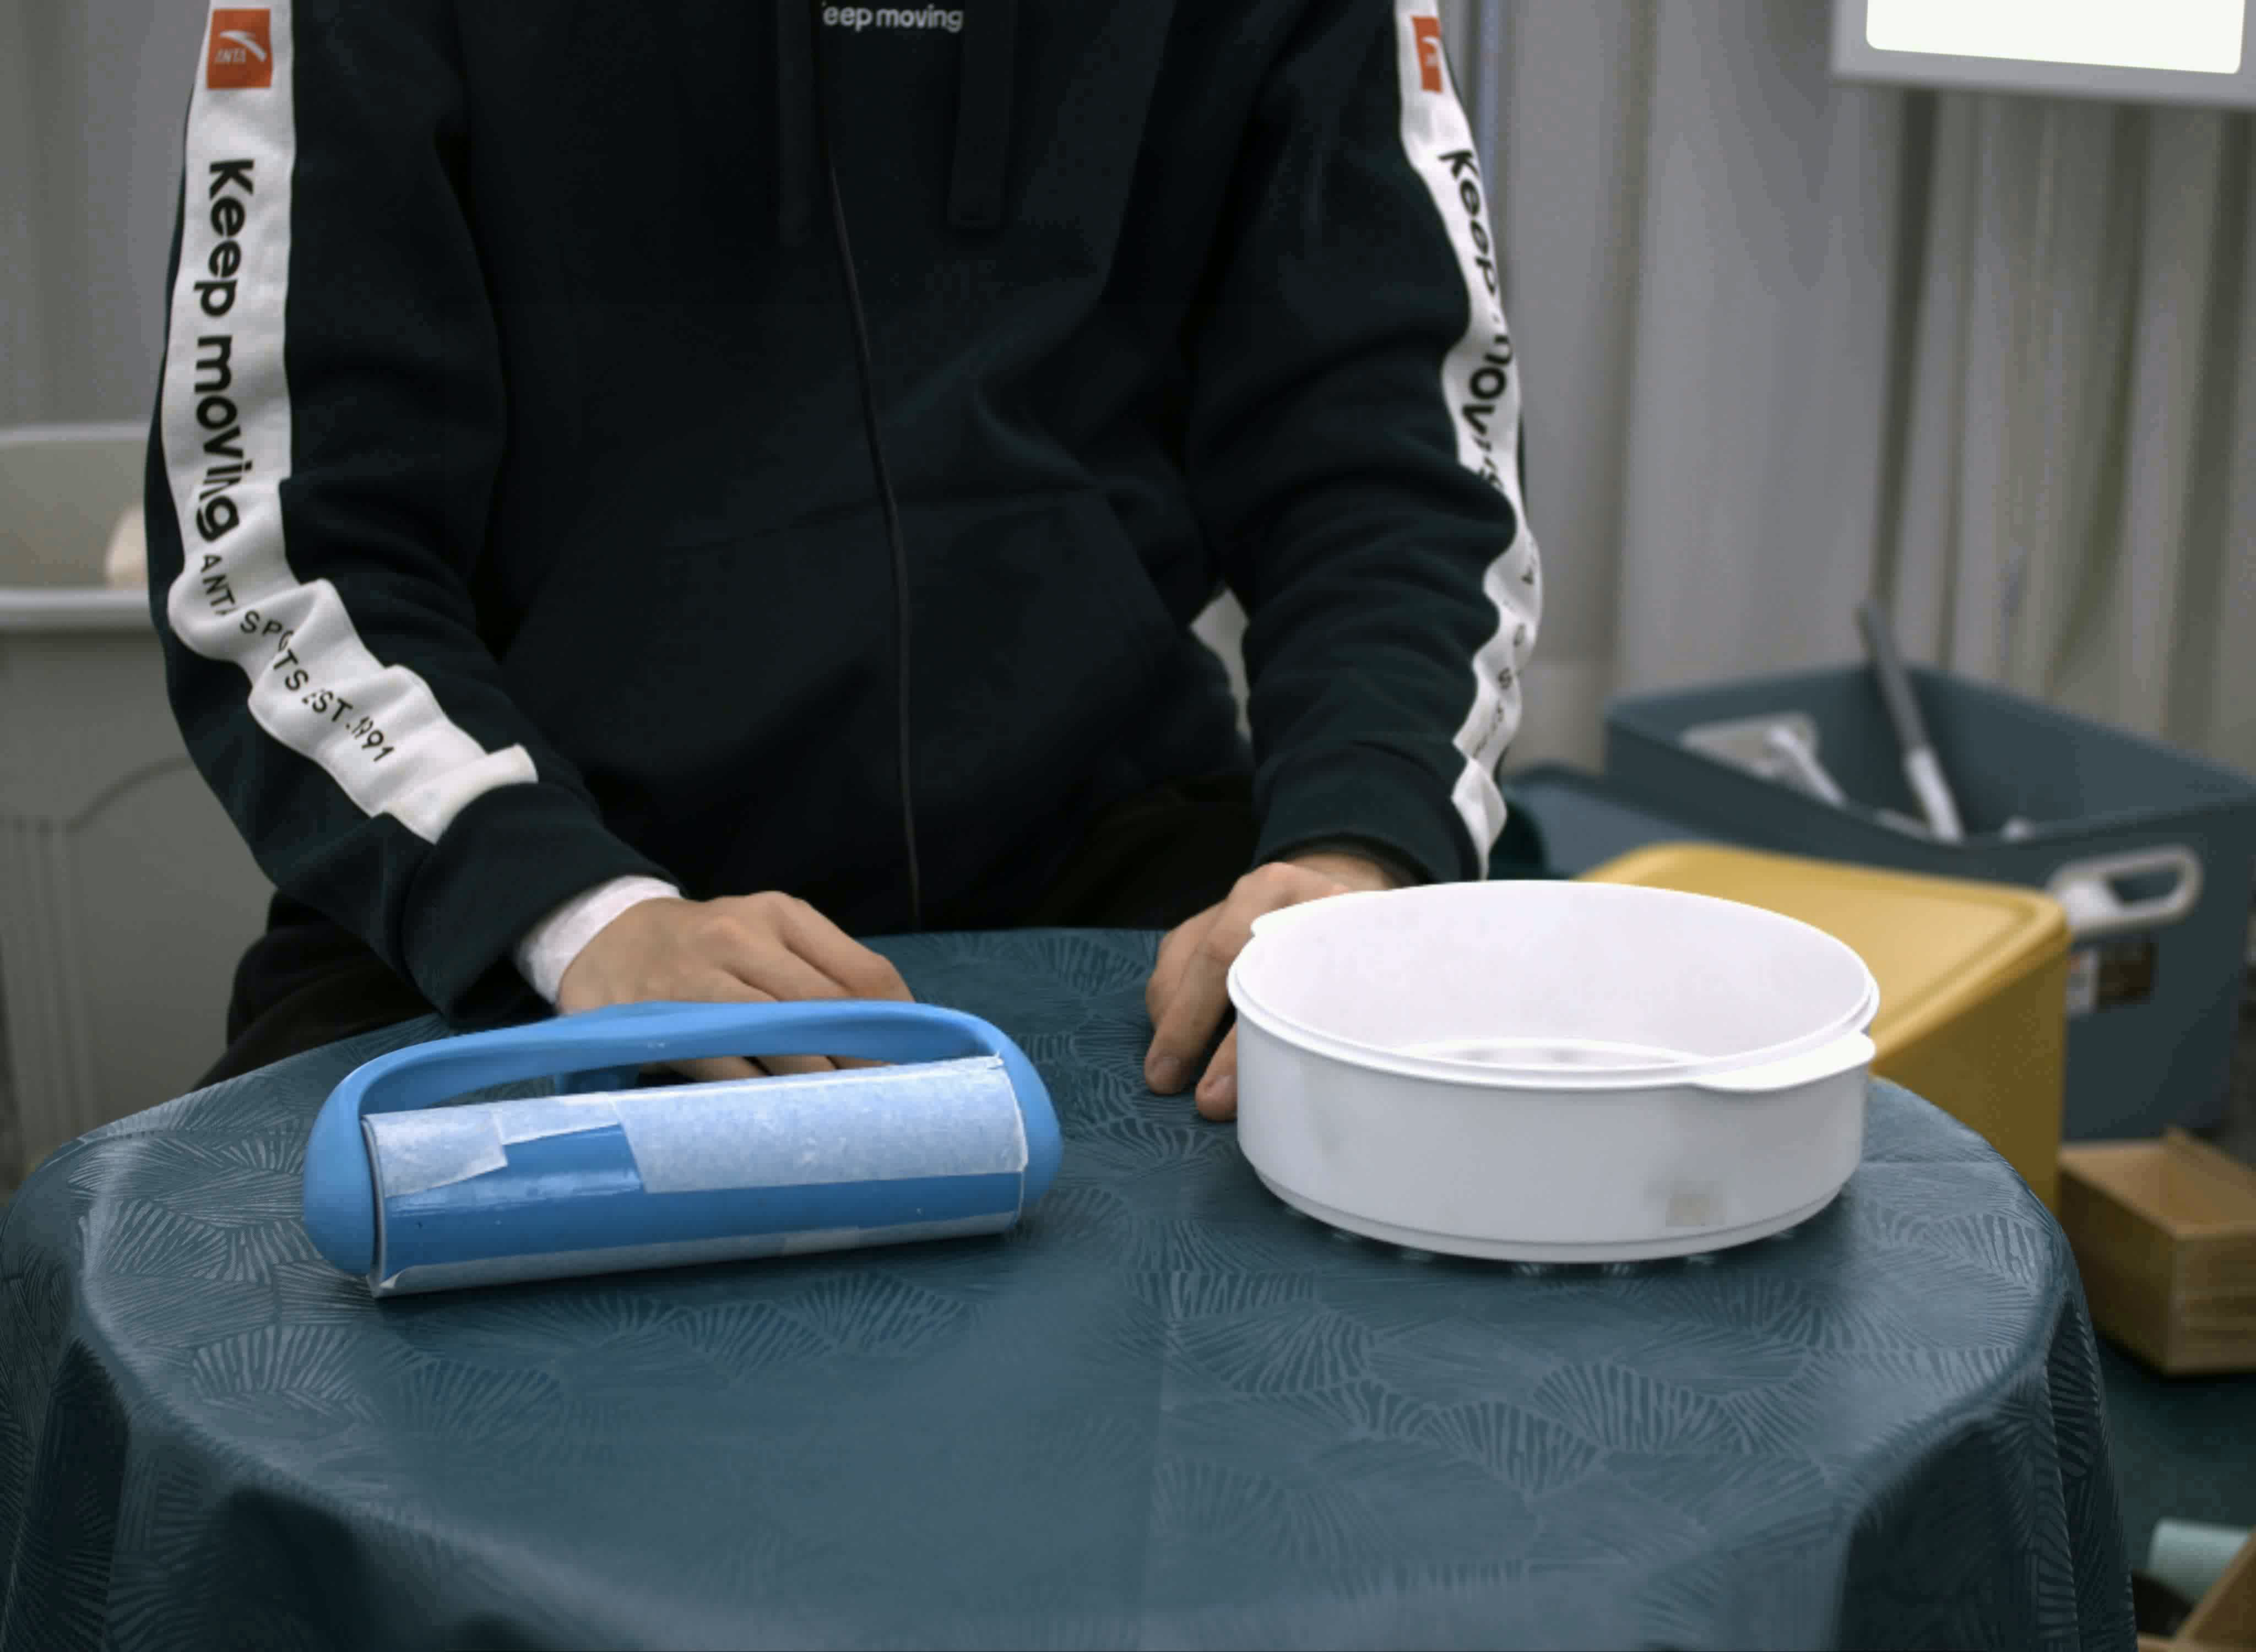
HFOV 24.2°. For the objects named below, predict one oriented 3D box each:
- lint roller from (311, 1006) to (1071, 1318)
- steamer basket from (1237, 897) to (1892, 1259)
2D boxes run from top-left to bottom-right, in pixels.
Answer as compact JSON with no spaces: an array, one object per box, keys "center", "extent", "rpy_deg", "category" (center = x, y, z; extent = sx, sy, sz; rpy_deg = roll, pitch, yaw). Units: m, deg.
[{"center":[-0.148,0.088,1.599],"extent":[0.229,0.068,0.178],"rpy_deg":[-8,19,-21],"category":"lint roller"},{"center":[0.133,0.077,1.623],"extent":[0.203,0.070,0.227],"rpy_deg":[-11,18,-40],"category":"steamer basket"}]
